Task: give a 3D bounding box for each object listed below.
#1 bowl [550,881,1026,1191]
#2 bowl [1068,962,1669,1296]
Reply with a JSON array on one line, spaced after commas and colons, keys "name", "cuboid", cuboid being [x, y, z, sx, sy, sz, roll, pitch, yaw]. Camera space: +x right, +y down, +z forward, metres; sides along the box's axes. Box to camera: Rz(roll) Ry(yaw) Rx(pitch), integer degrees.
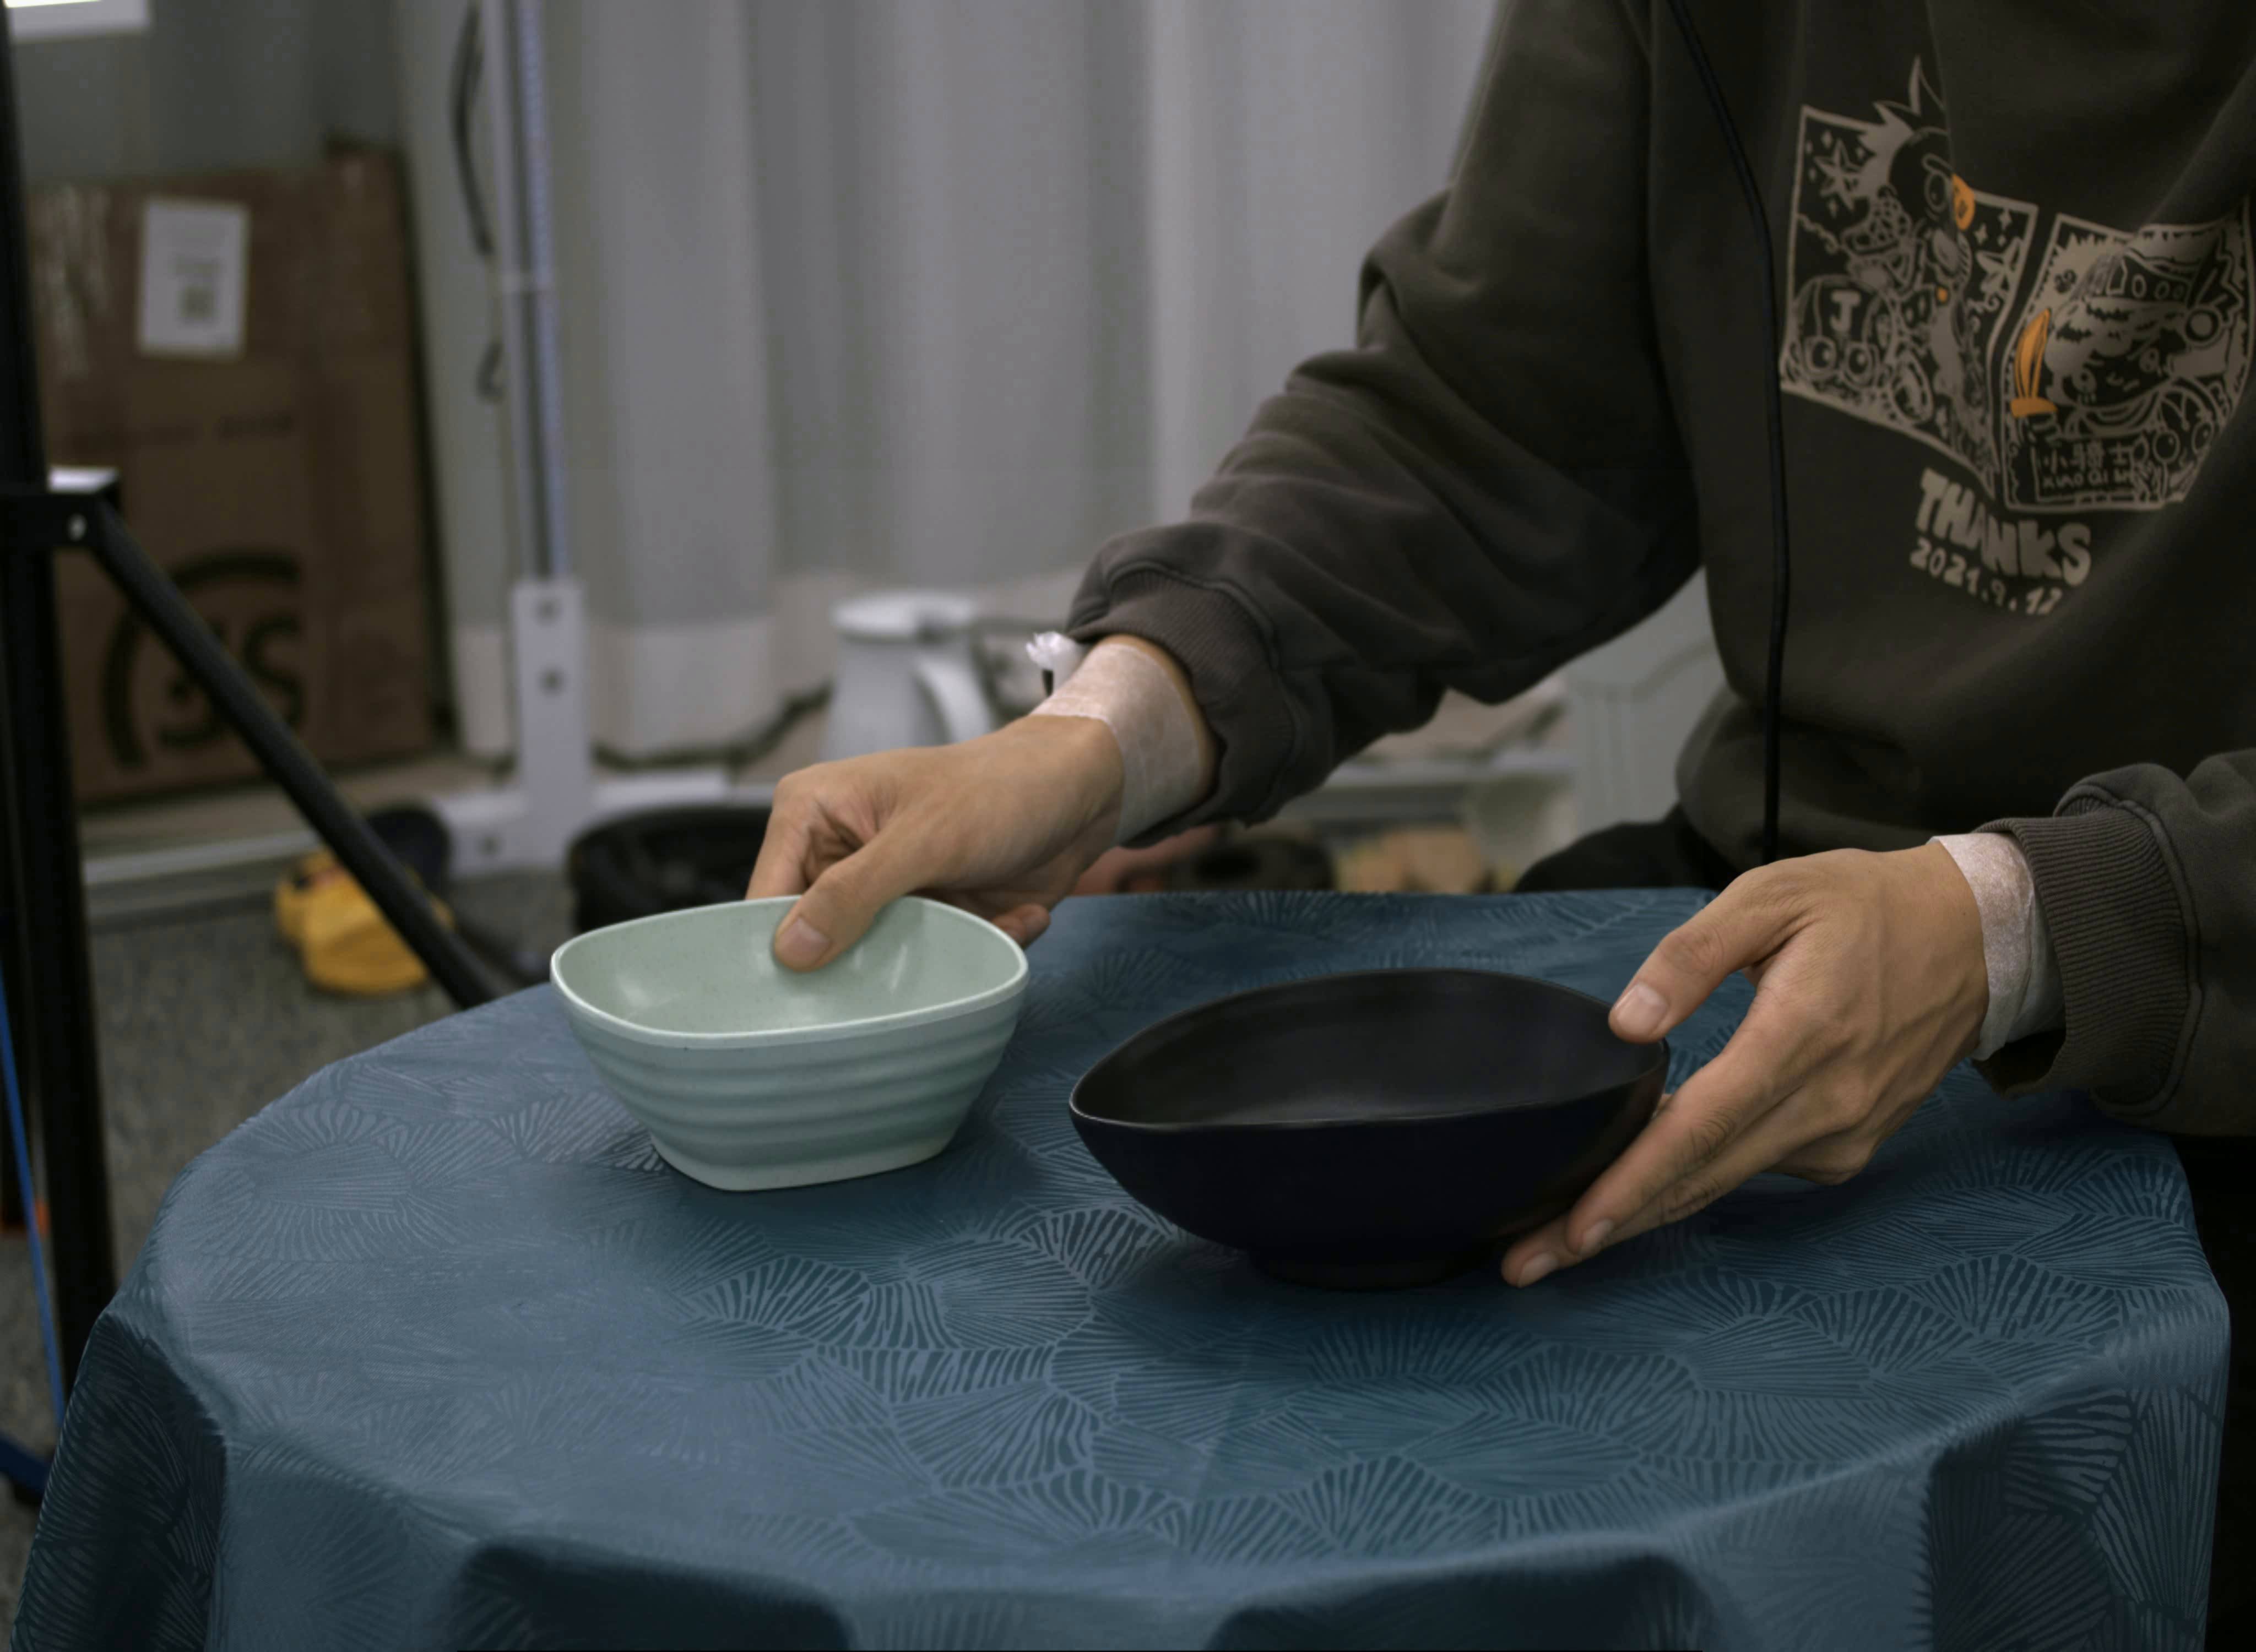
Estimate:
[{"name": "bowl", "cuboid": [-0.102, 0.067, 1.617, 0.150, 0.058, 0.152, -3, 17, -1]}, {"name": "bowl", "cuboid": [0.069, 0.091, 1.494, 0.169, 0.066, 0.138, -4, 16, 0]}]
